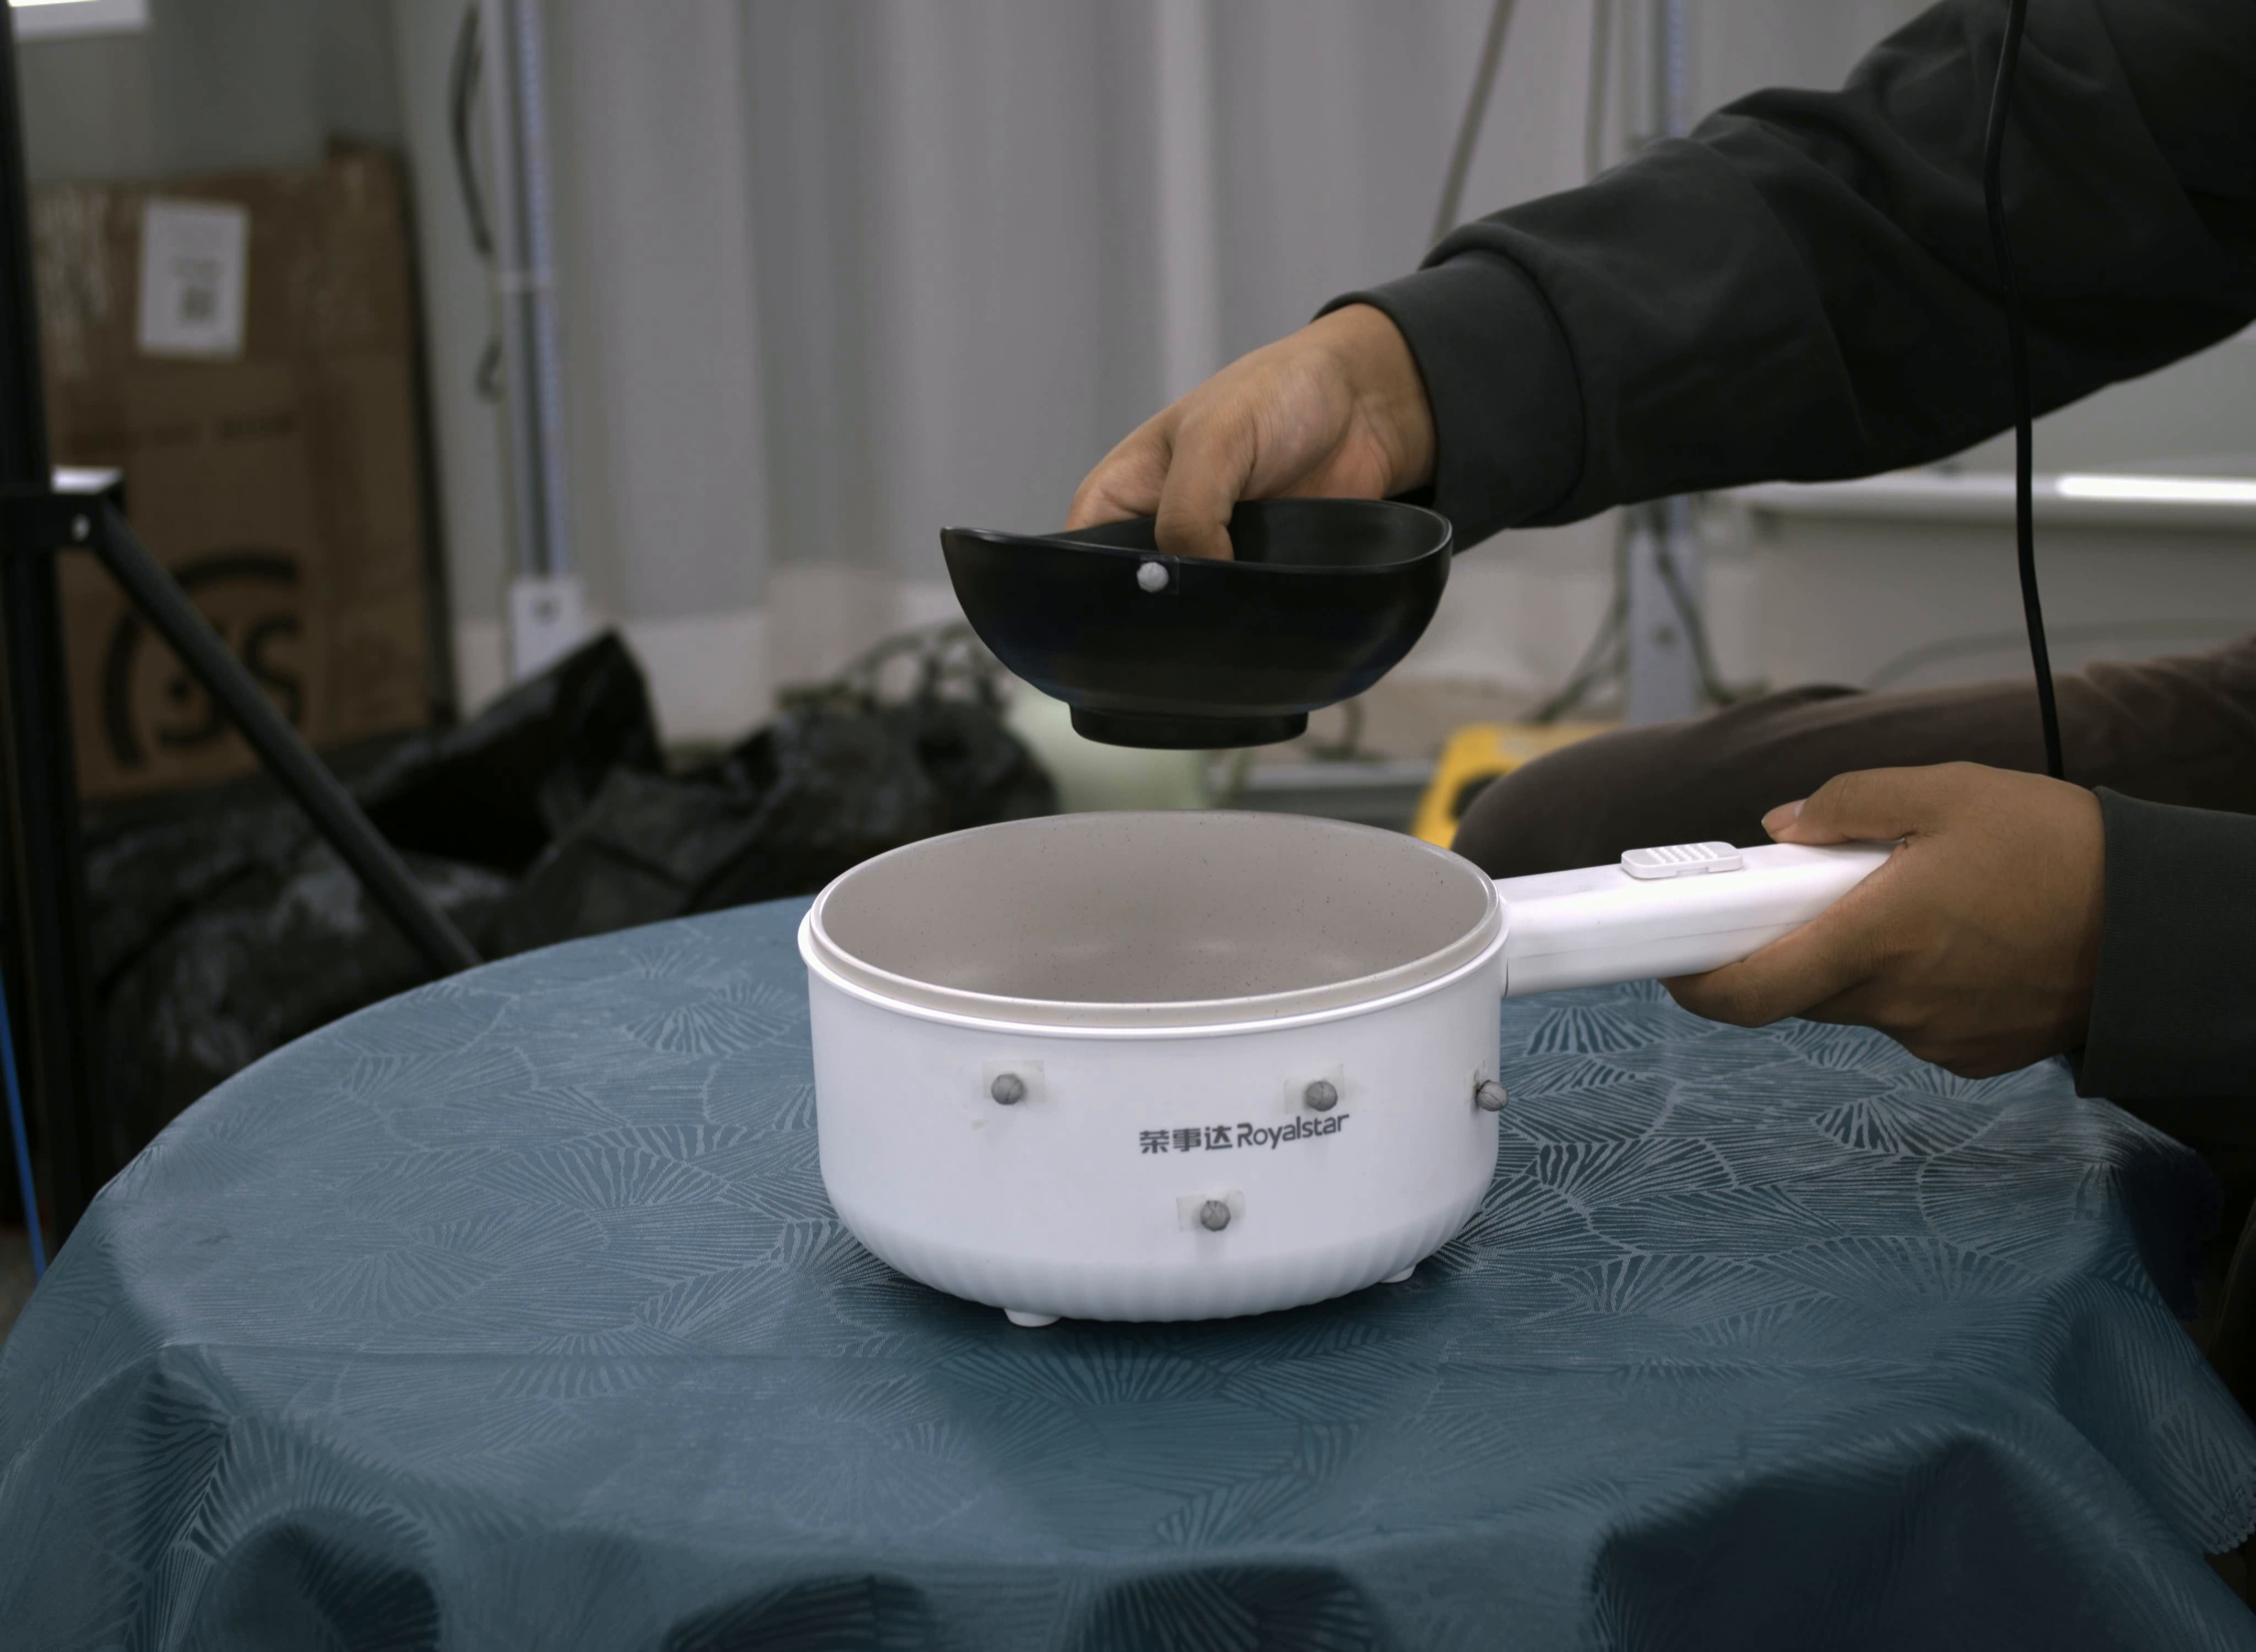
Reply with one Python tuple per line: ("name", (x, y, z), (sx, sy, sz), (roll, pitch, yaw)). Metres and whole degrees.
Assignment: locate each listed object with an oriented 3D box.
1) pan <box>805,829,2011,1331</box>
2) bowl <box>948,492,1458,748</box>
("pan", (0.082, 0.068, 1.524), (0.349, 0.102, 0.204), (-4, 14, -14))
("bowl", (0.020, -0.059, 1.532), (0.134, 0.067, 0.174), (-7, 10, -35))
